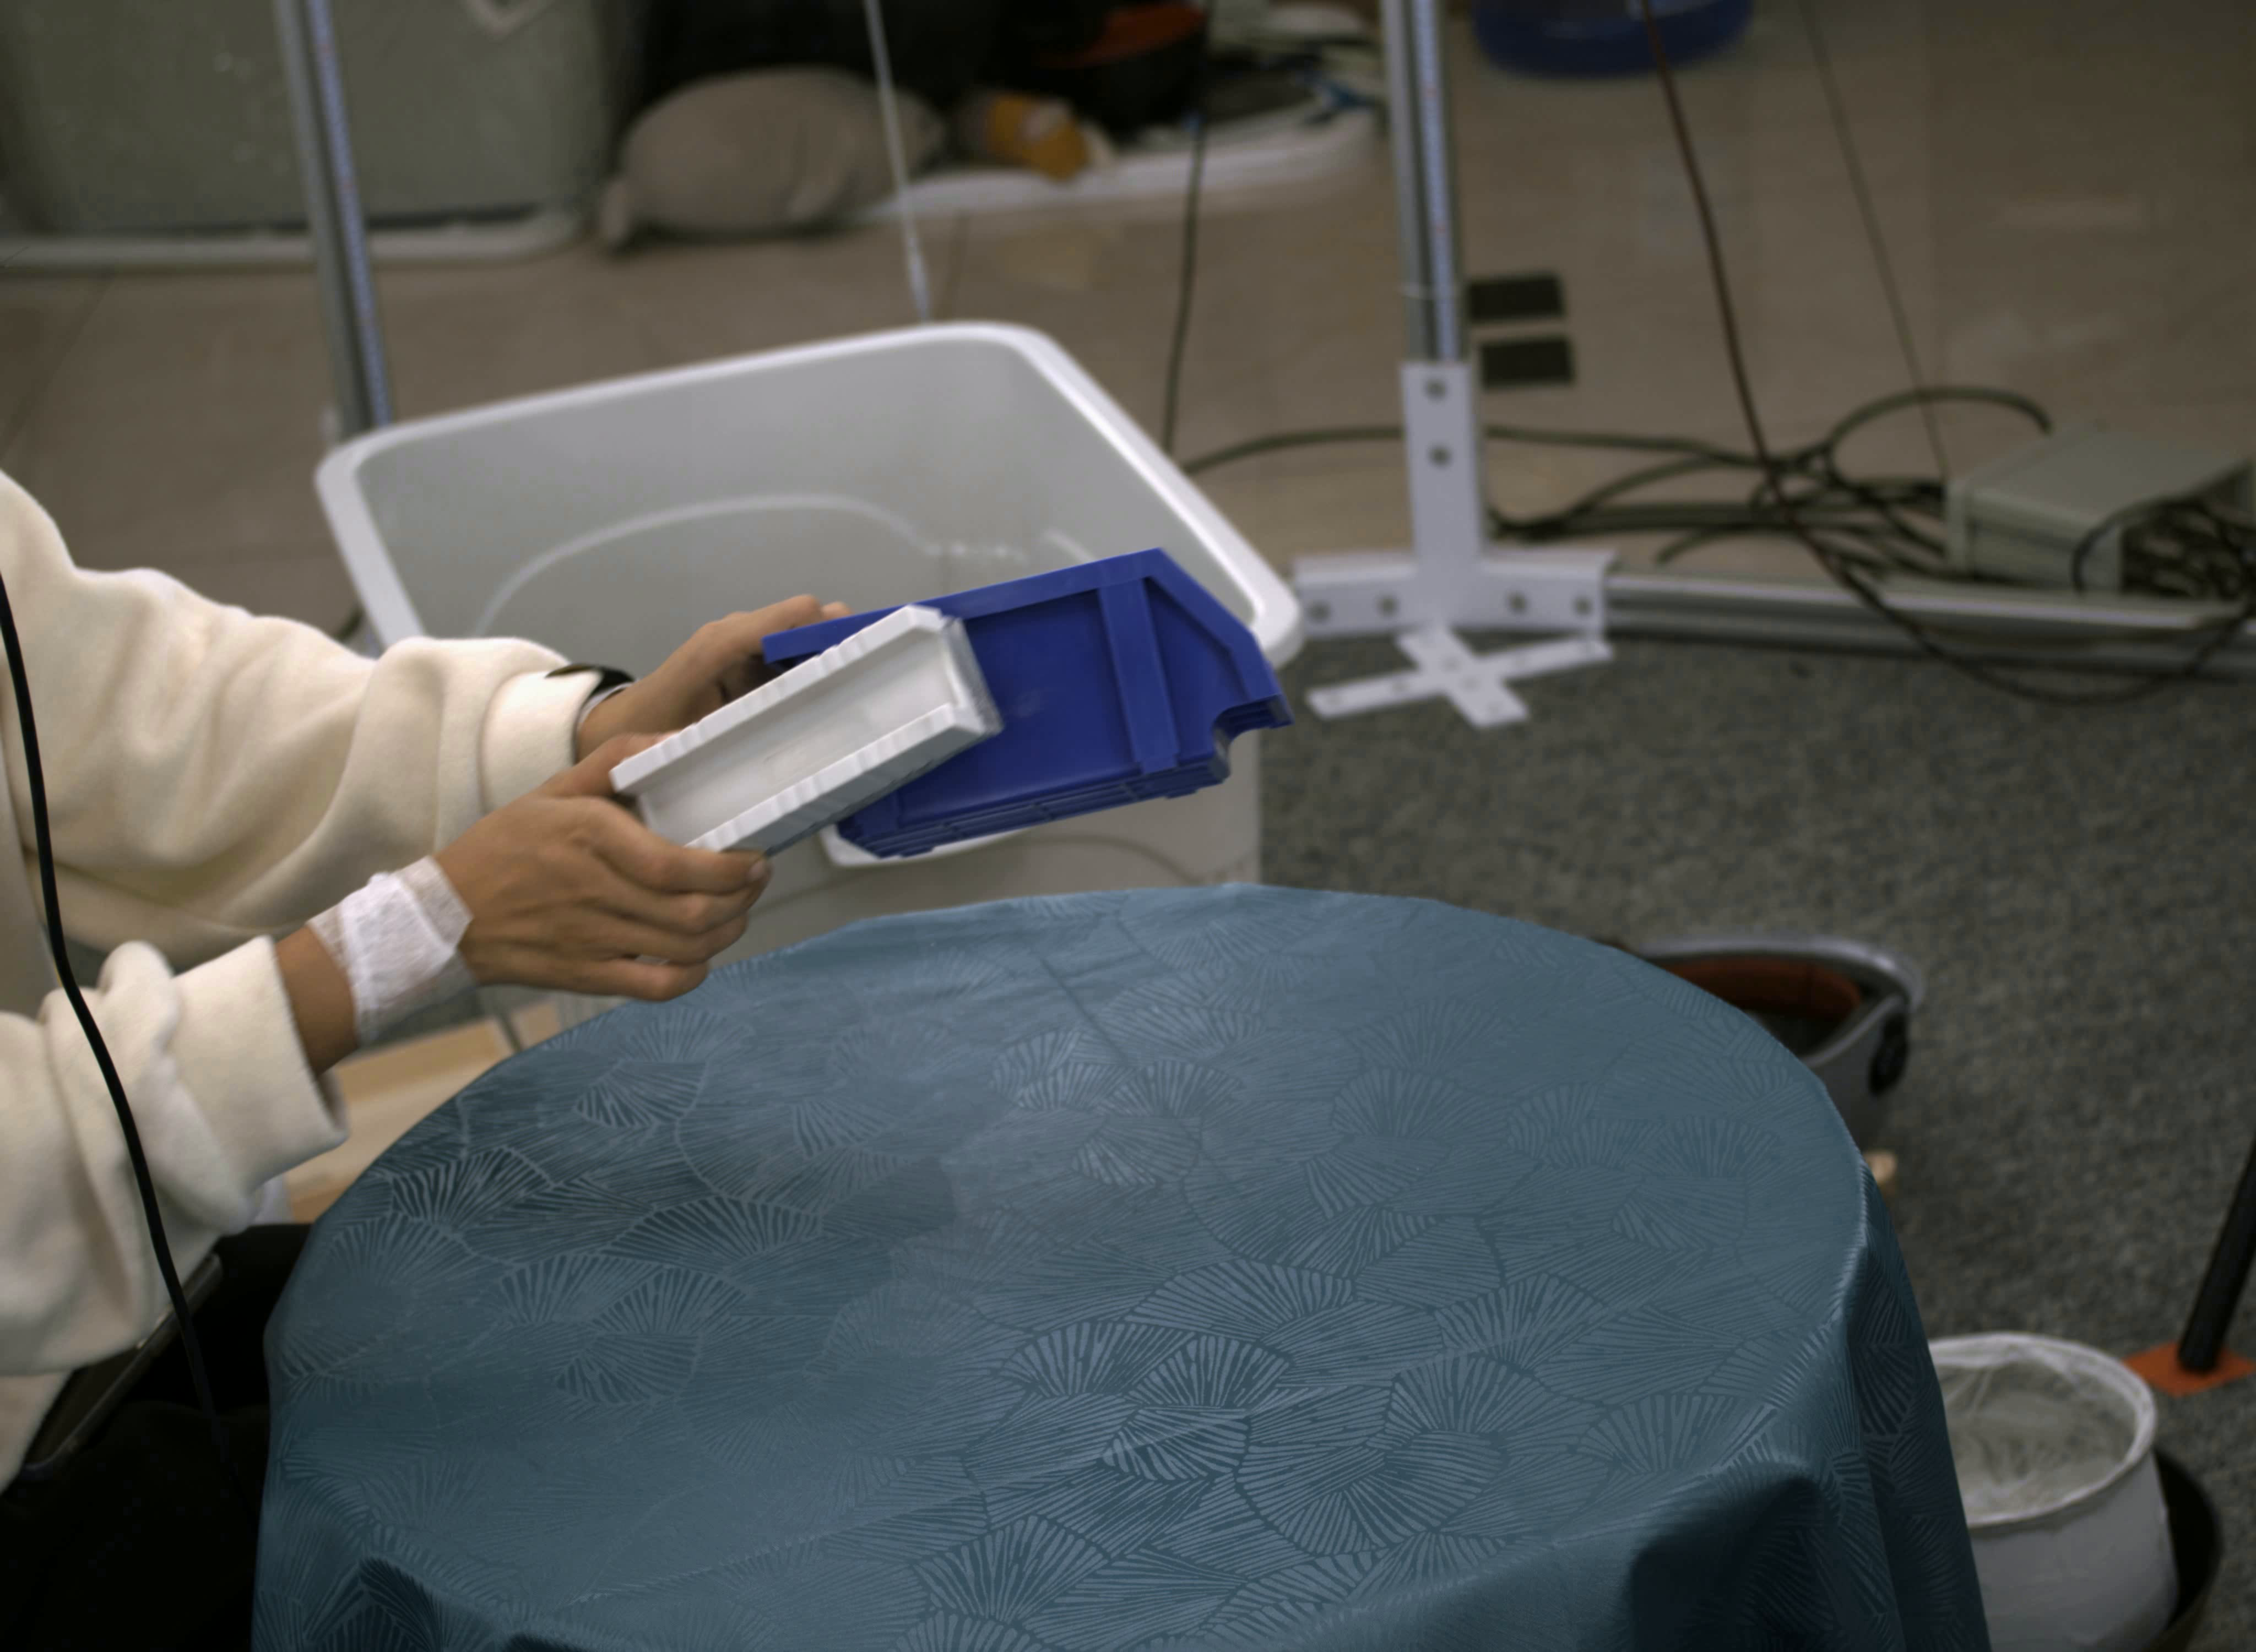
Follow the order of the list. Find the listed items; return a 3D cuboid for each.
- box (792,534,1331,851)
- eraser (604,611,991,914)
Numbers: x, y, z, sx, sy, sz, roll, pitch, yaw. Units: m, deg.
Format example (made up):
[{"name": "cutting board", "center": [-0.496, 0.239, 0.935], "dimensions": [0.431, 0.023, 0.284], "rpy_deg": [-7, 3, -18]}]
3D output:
[{"name": "box", "center": [-0.020, -0.049, 2.102], "dimensions": [0.179, 0.082, 0.125], "rpy_deg": [-15, -5, 5]}, {"name": "eraser", "center": [-0.118, -0.021, 2.028], "dimensions": [0.135, 0.049, 0.046], "rpy_deg": [-30, -17, 20]}]
